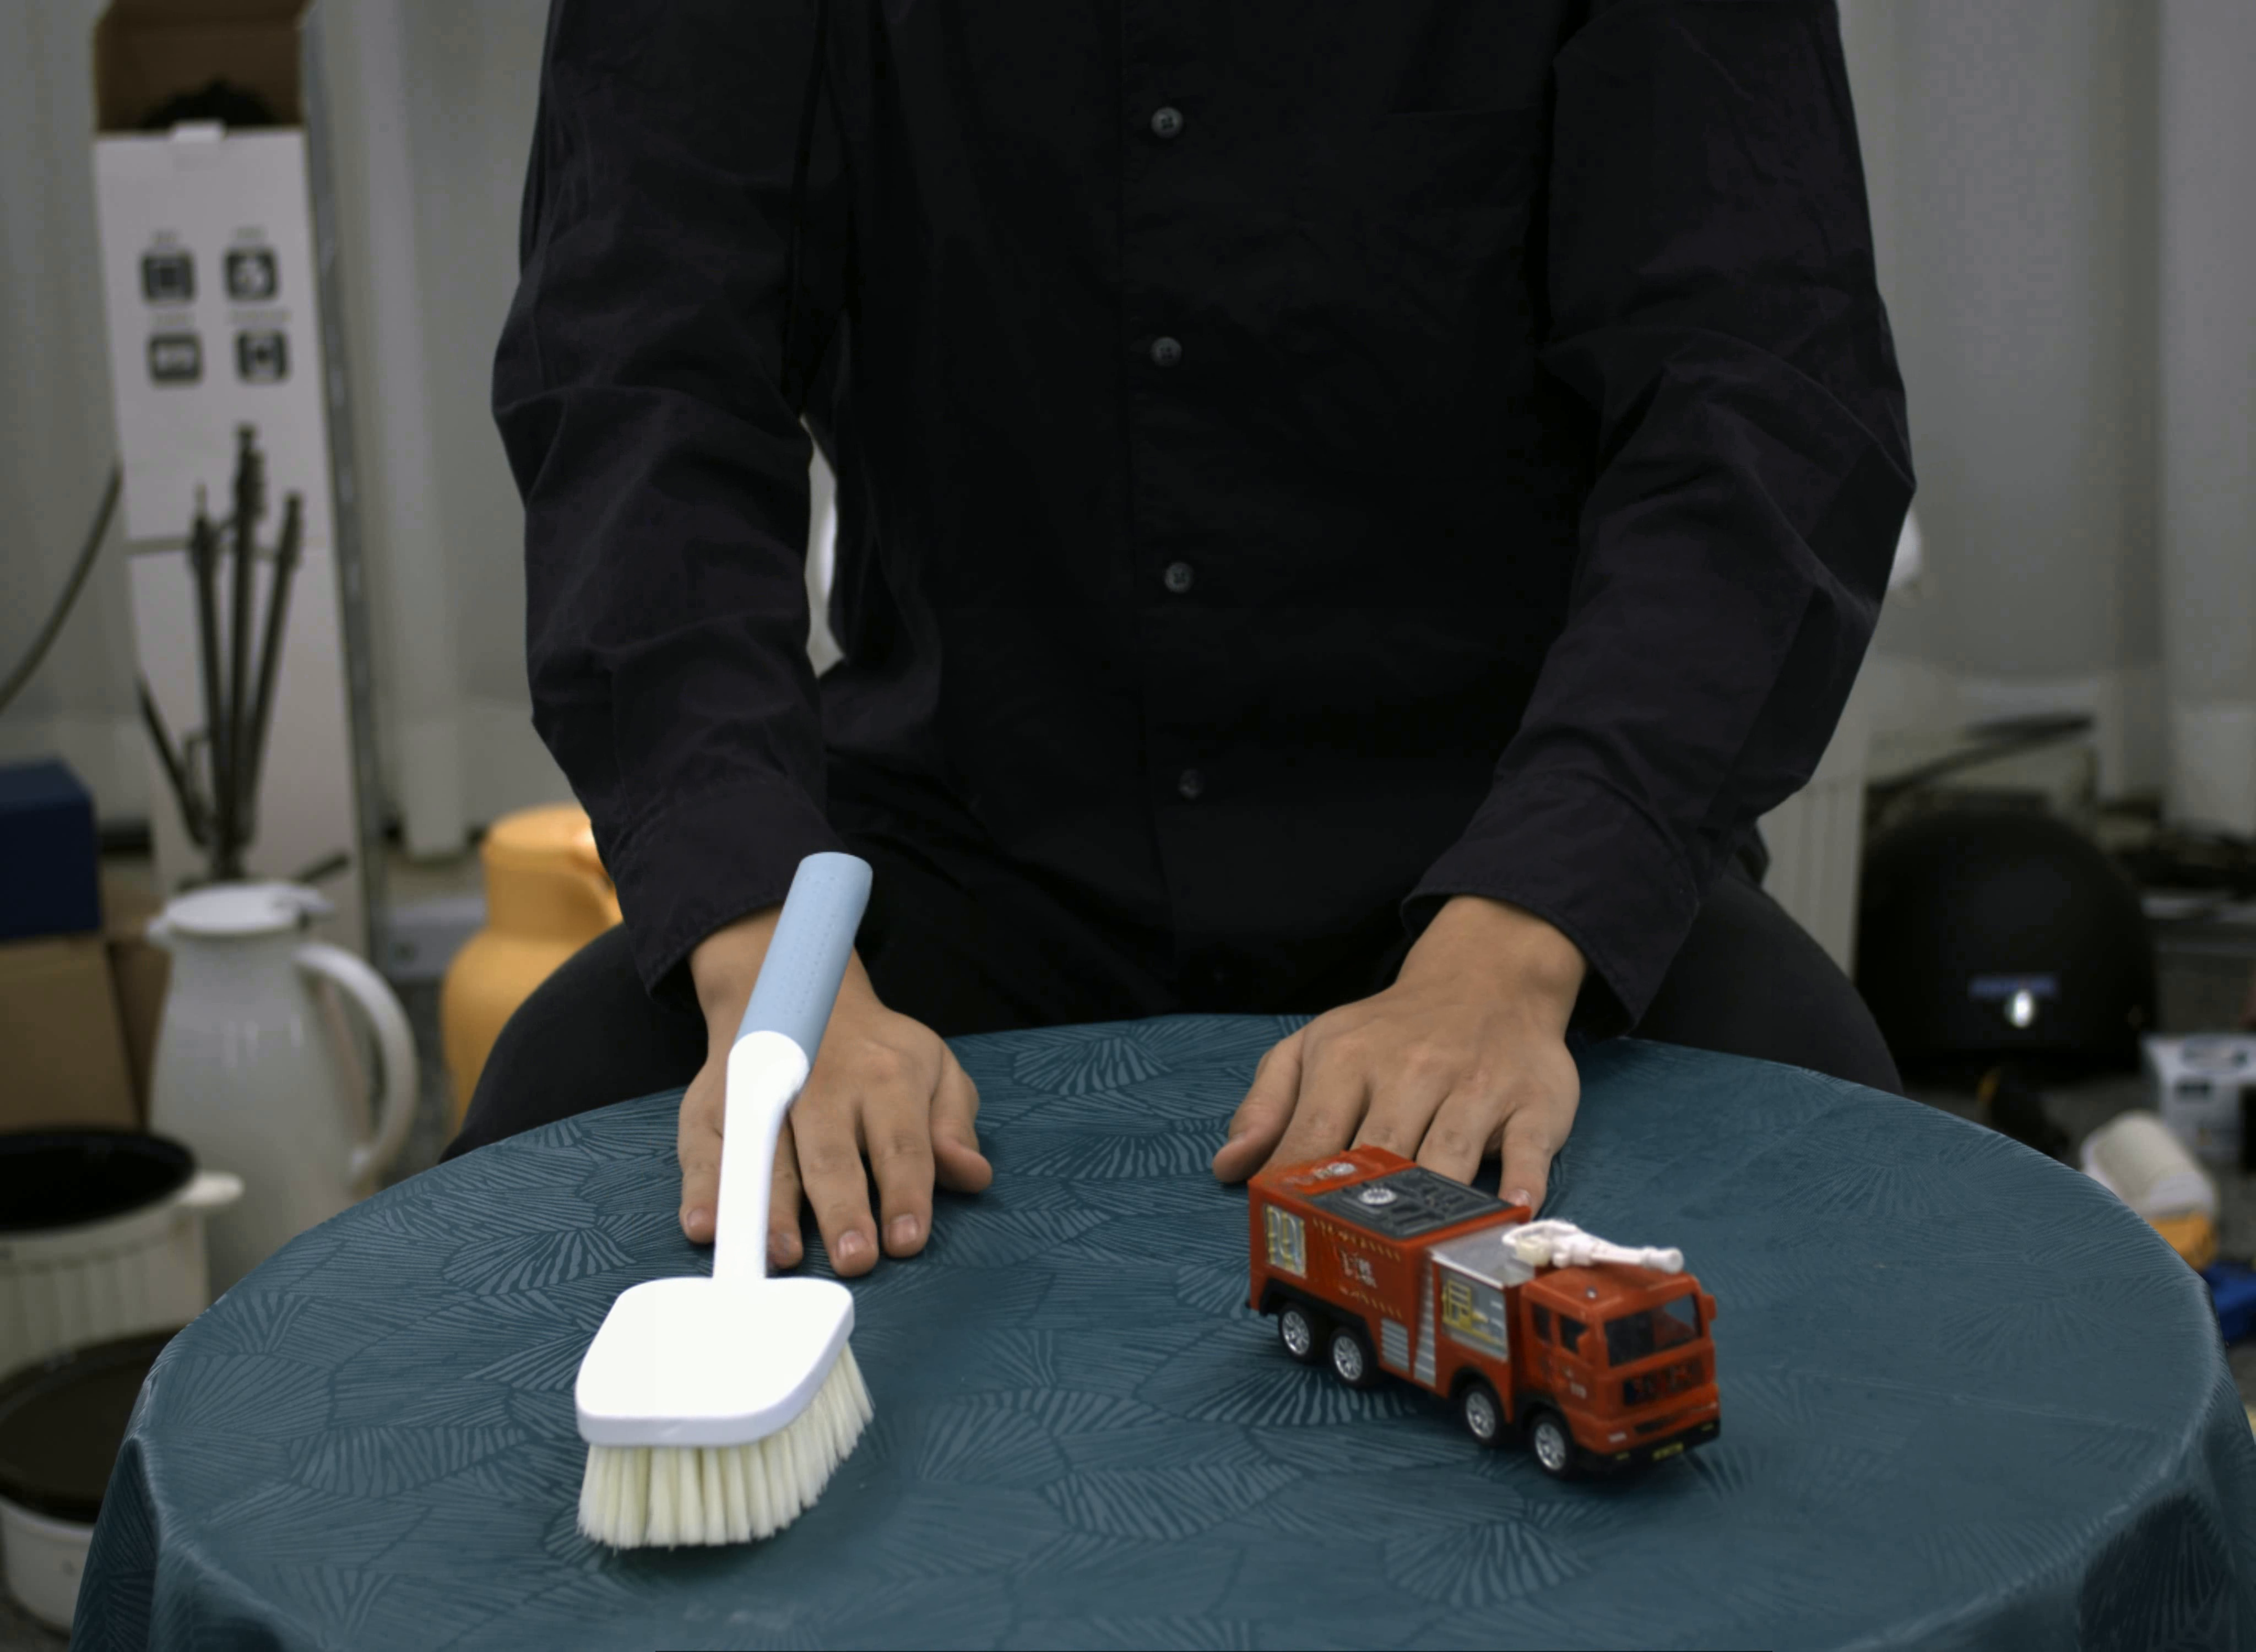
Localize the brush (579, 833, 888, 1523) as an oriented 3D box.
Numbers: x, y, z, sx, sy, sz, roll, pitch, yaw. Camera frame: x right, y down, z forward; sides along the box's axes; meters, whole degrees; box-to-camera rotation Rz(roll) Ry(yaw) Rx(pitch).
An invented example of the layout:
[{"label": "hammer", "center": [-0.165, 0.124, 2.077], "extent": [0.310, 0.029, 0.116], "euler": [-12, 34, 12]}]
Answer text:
[{"label": "brush", "center": [-0.098, 0.113, 1.584], "extent": [0.082, 0.084, 0.329], "euler": [32, 26, -9]}]

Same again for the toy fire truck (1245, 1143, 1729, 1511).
[{"label": "toy fire truck", "center": [0.098, 0.135, 1.510], "extent": [0.054, 0.070, 0.169], "euler": [-12, 16, -34]}]
